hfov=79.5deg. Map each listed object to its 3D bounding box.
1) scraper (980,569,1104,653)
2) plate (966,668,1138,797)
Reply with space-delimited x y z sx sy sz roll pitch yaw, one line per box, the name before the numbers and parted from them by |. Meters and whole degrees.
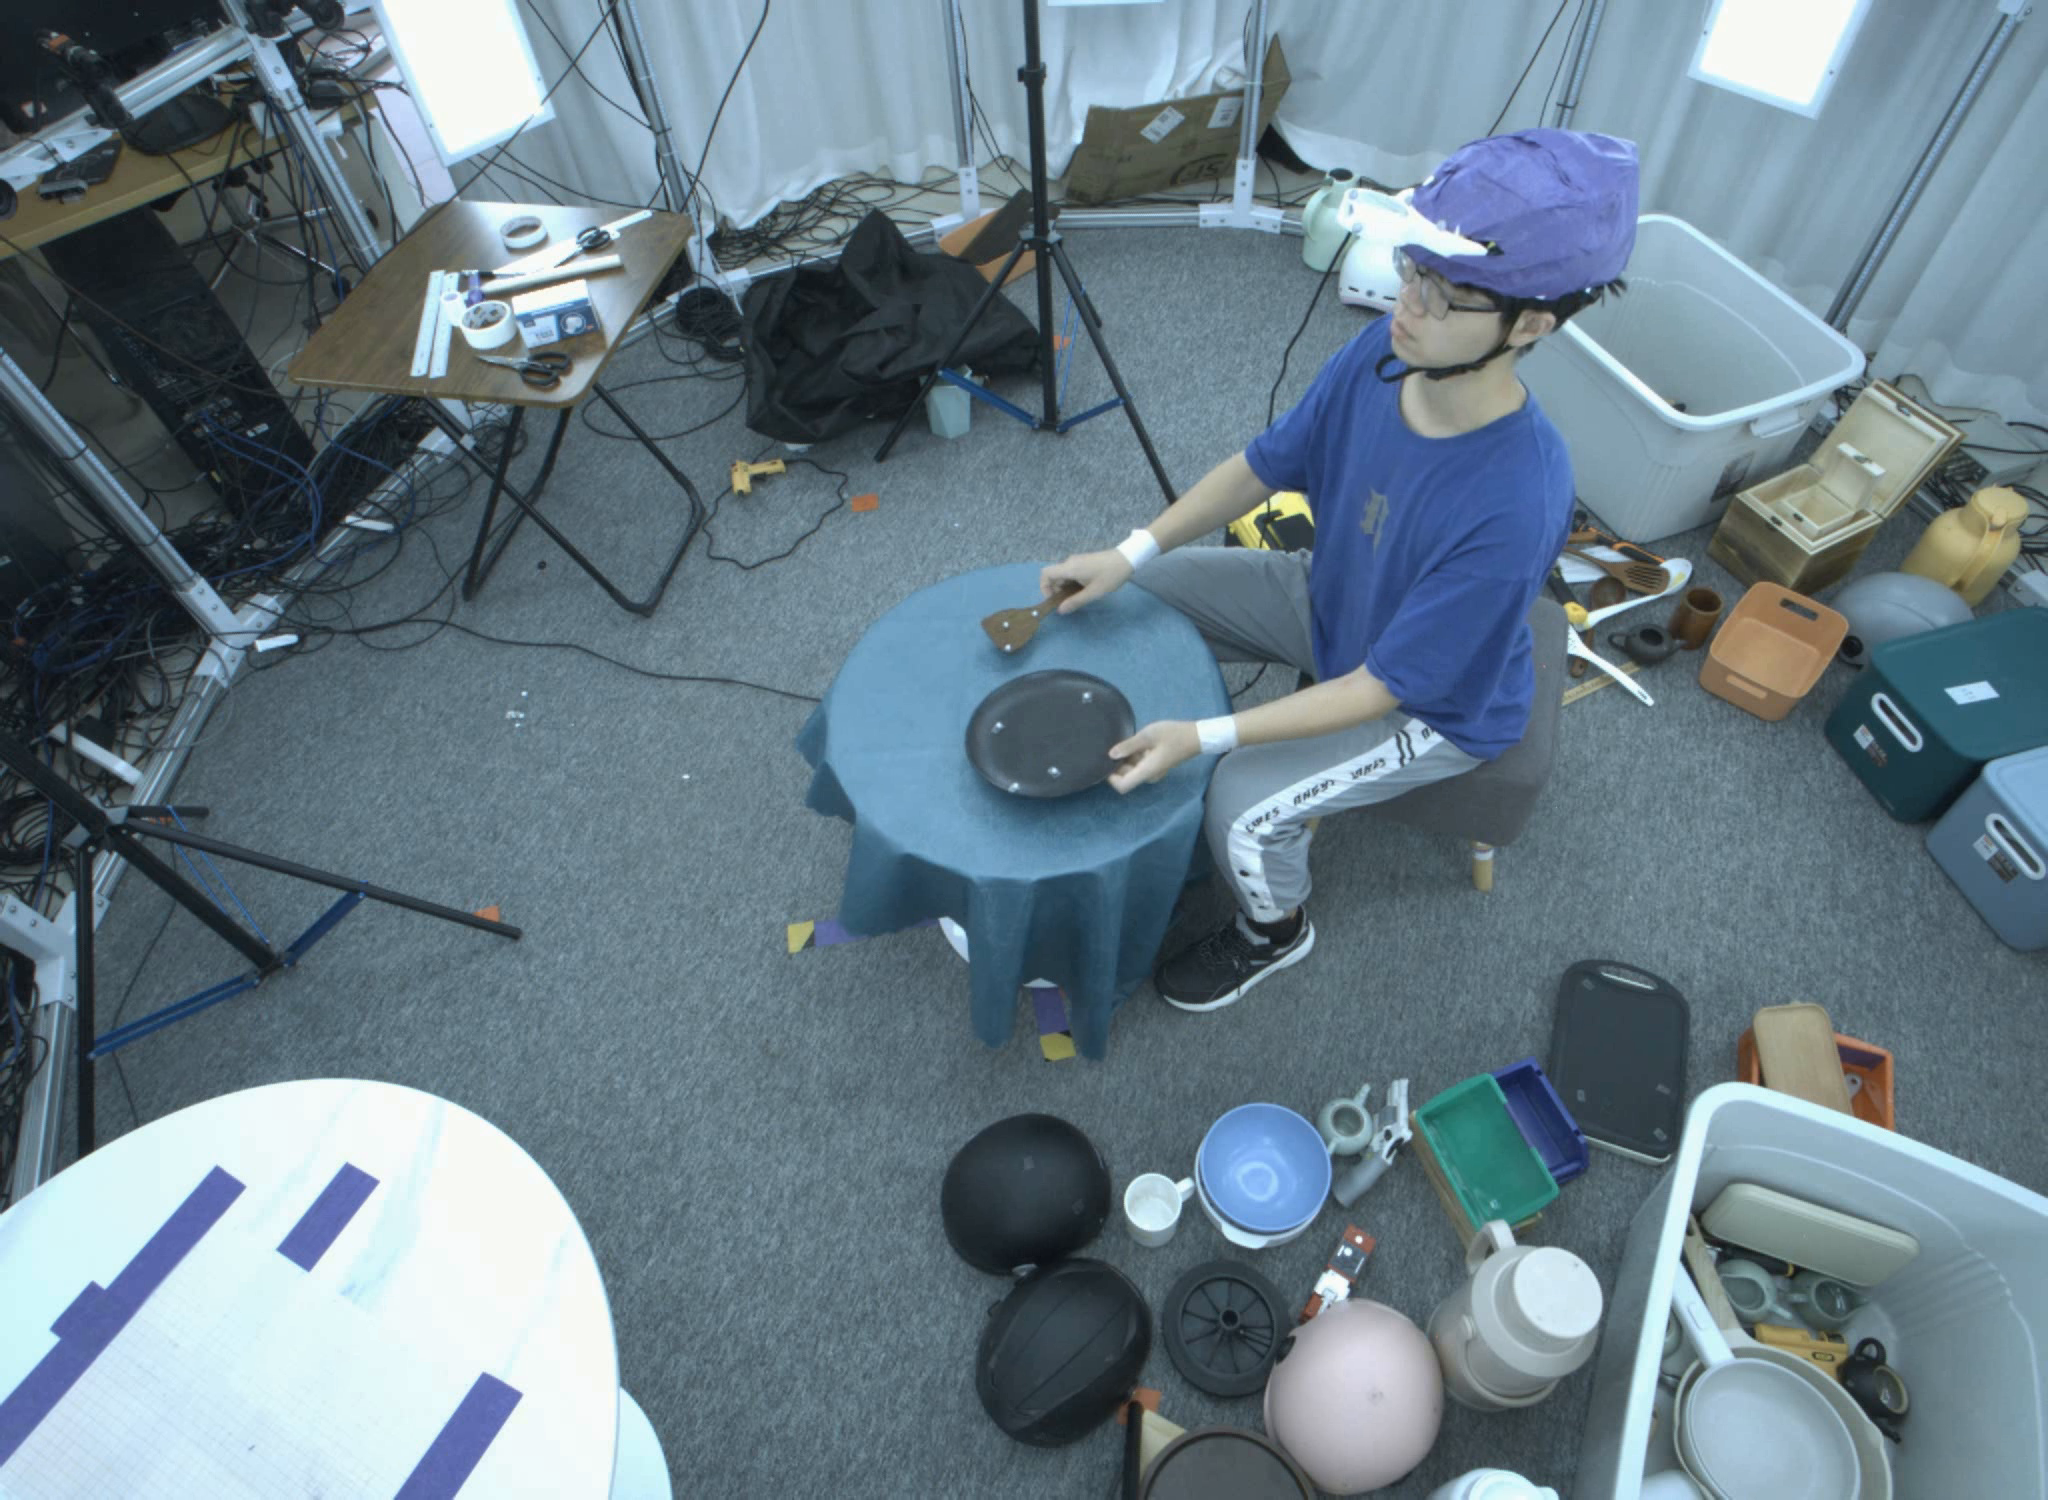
scraper | 0.034 -0.222 1.886 0.213 0.011 0.075 -32 75 -18
plate | 0.039 -0.023 1.735 0.243 0.024 0.242 -4 49 6
